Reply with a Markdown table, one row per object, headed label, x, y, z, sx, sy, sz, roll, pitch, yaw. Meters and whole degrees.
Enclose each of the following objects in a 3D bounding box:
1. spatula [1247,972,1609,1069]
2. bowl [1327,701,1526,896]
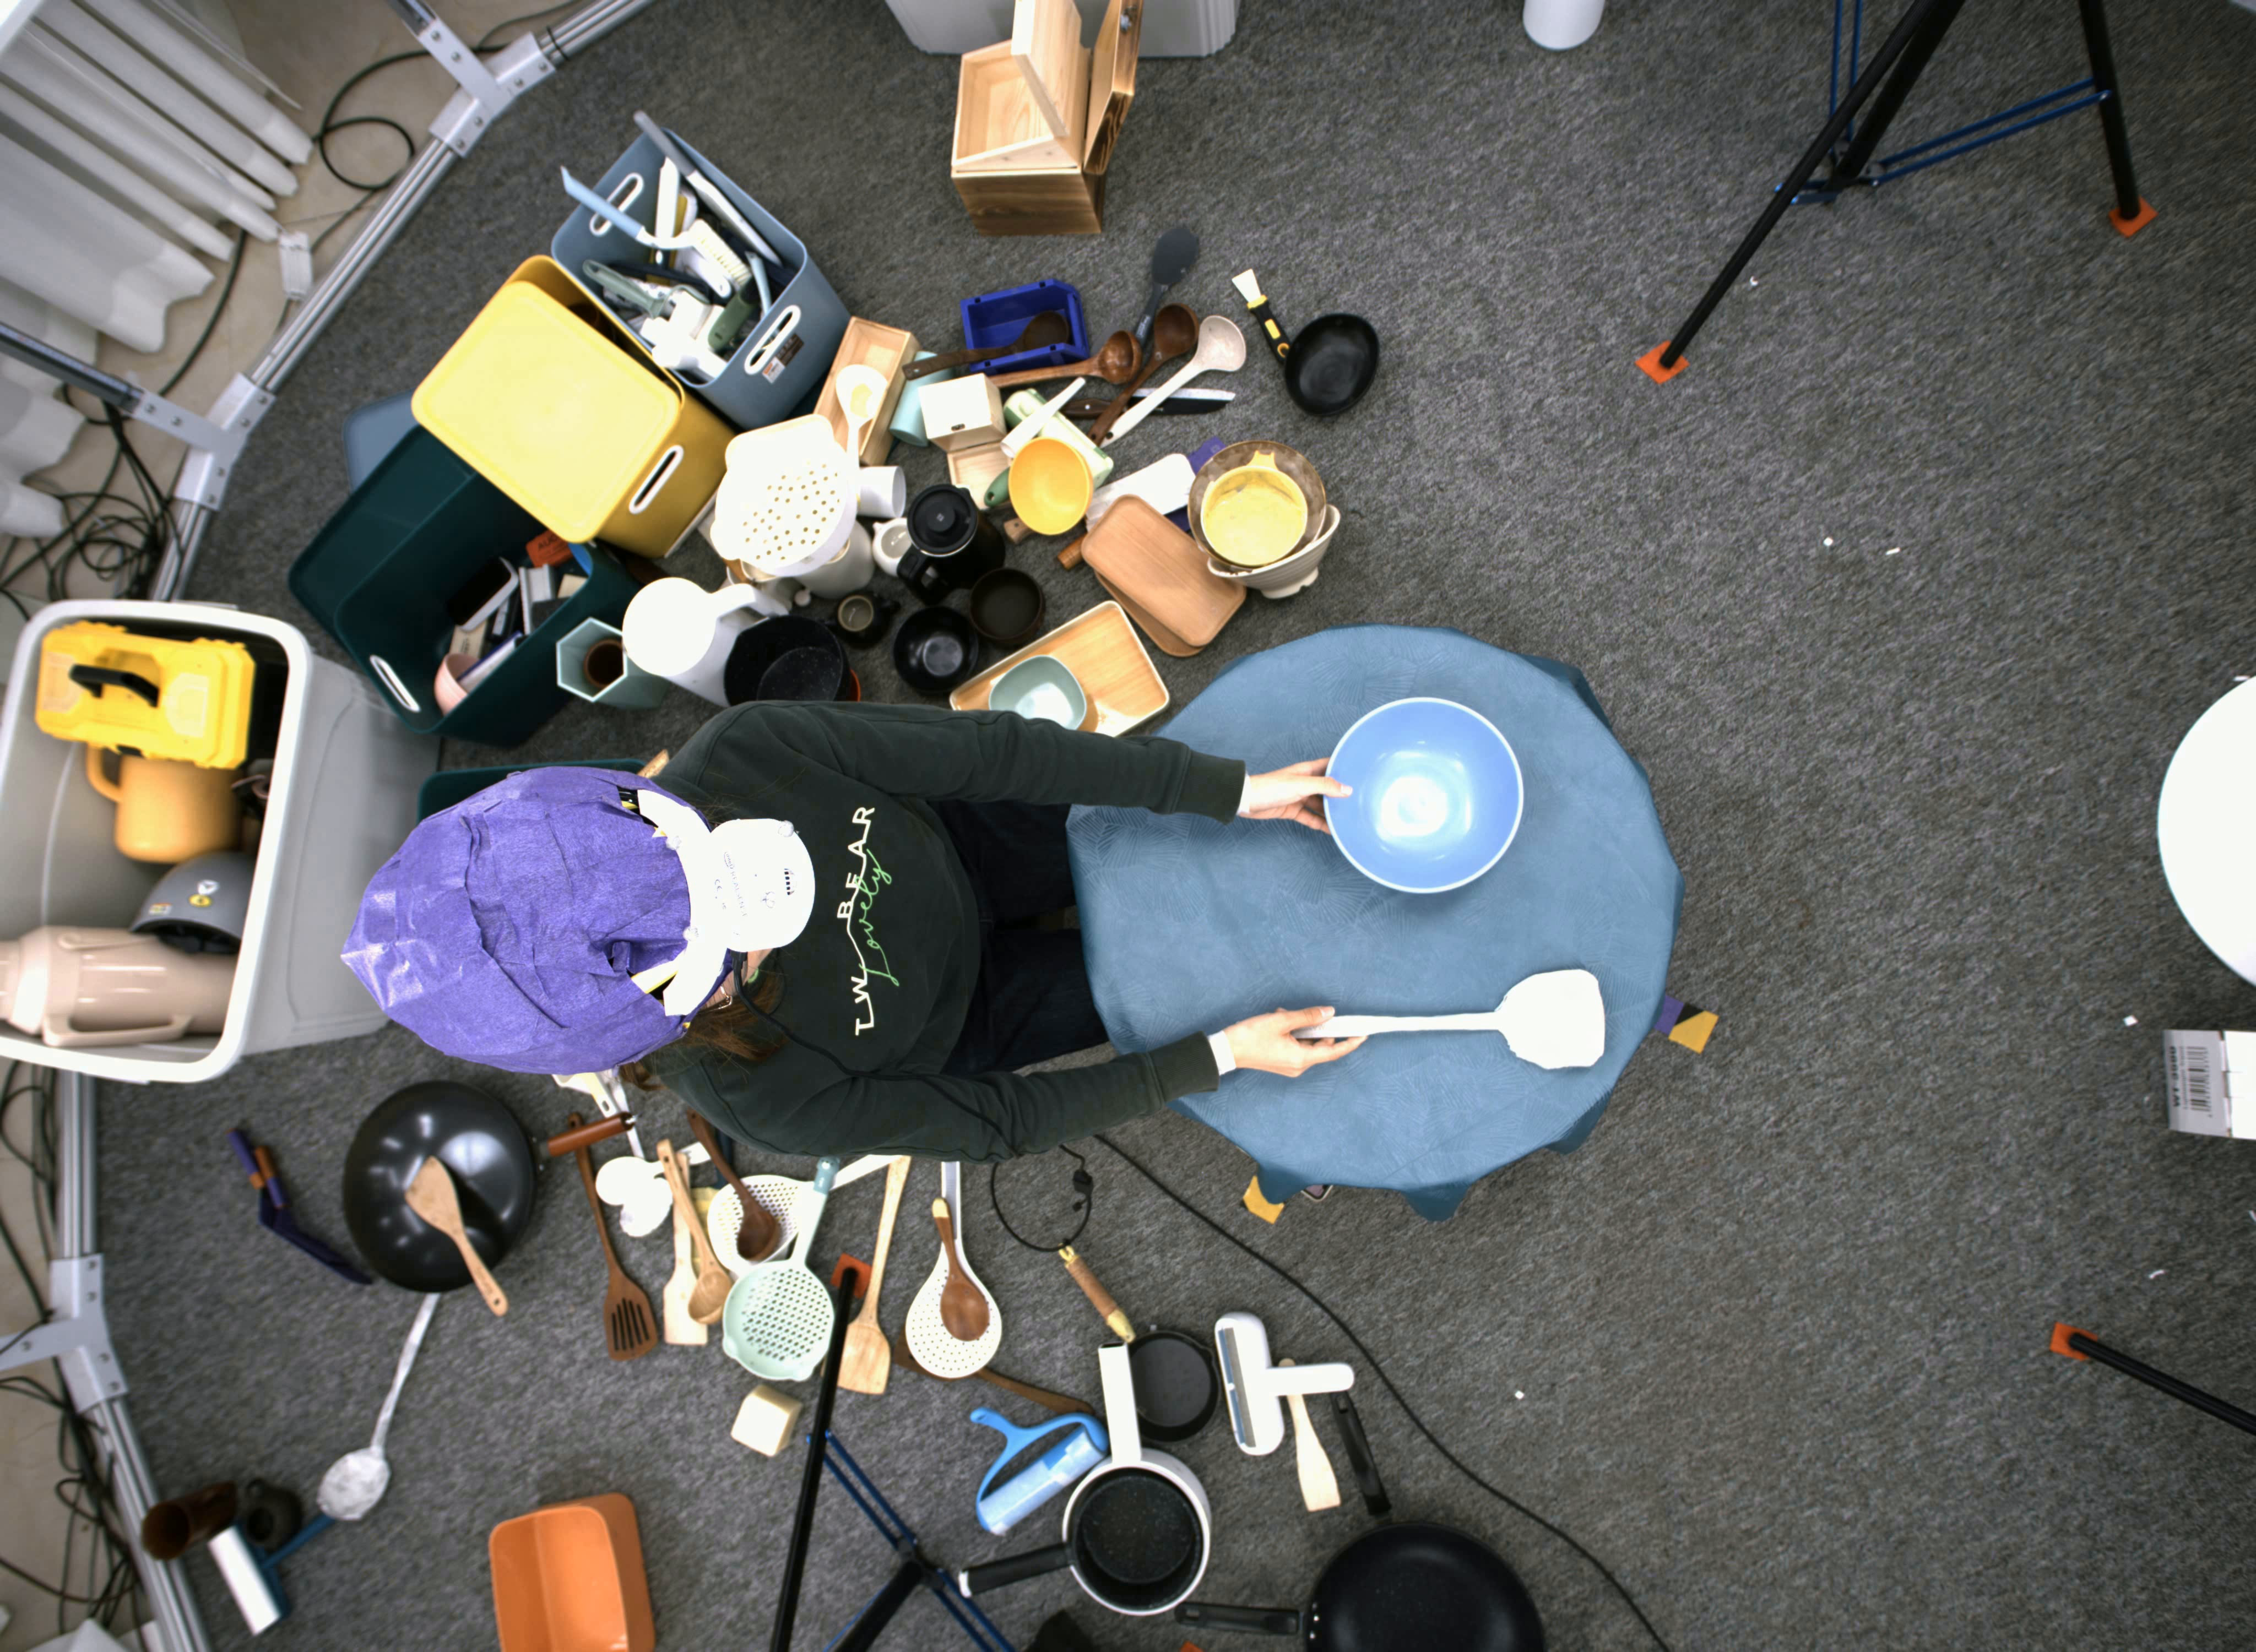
| label | x | y | z | sx | sy | sz | roll | pitch | yaw |
| --- | --- | --- | --- | --- | --- | --- | --- | --- | --- |
| spatula | 0.305 | 0.199 | 1.419 | 0.366 | 0.045 | 0.098 | -1 | 85 | 4 |
| bowl | 0.304 | -0.025 | 1.417 | 0.197 | 0.095 | 0.196 | -1 | 87 | 9 |
